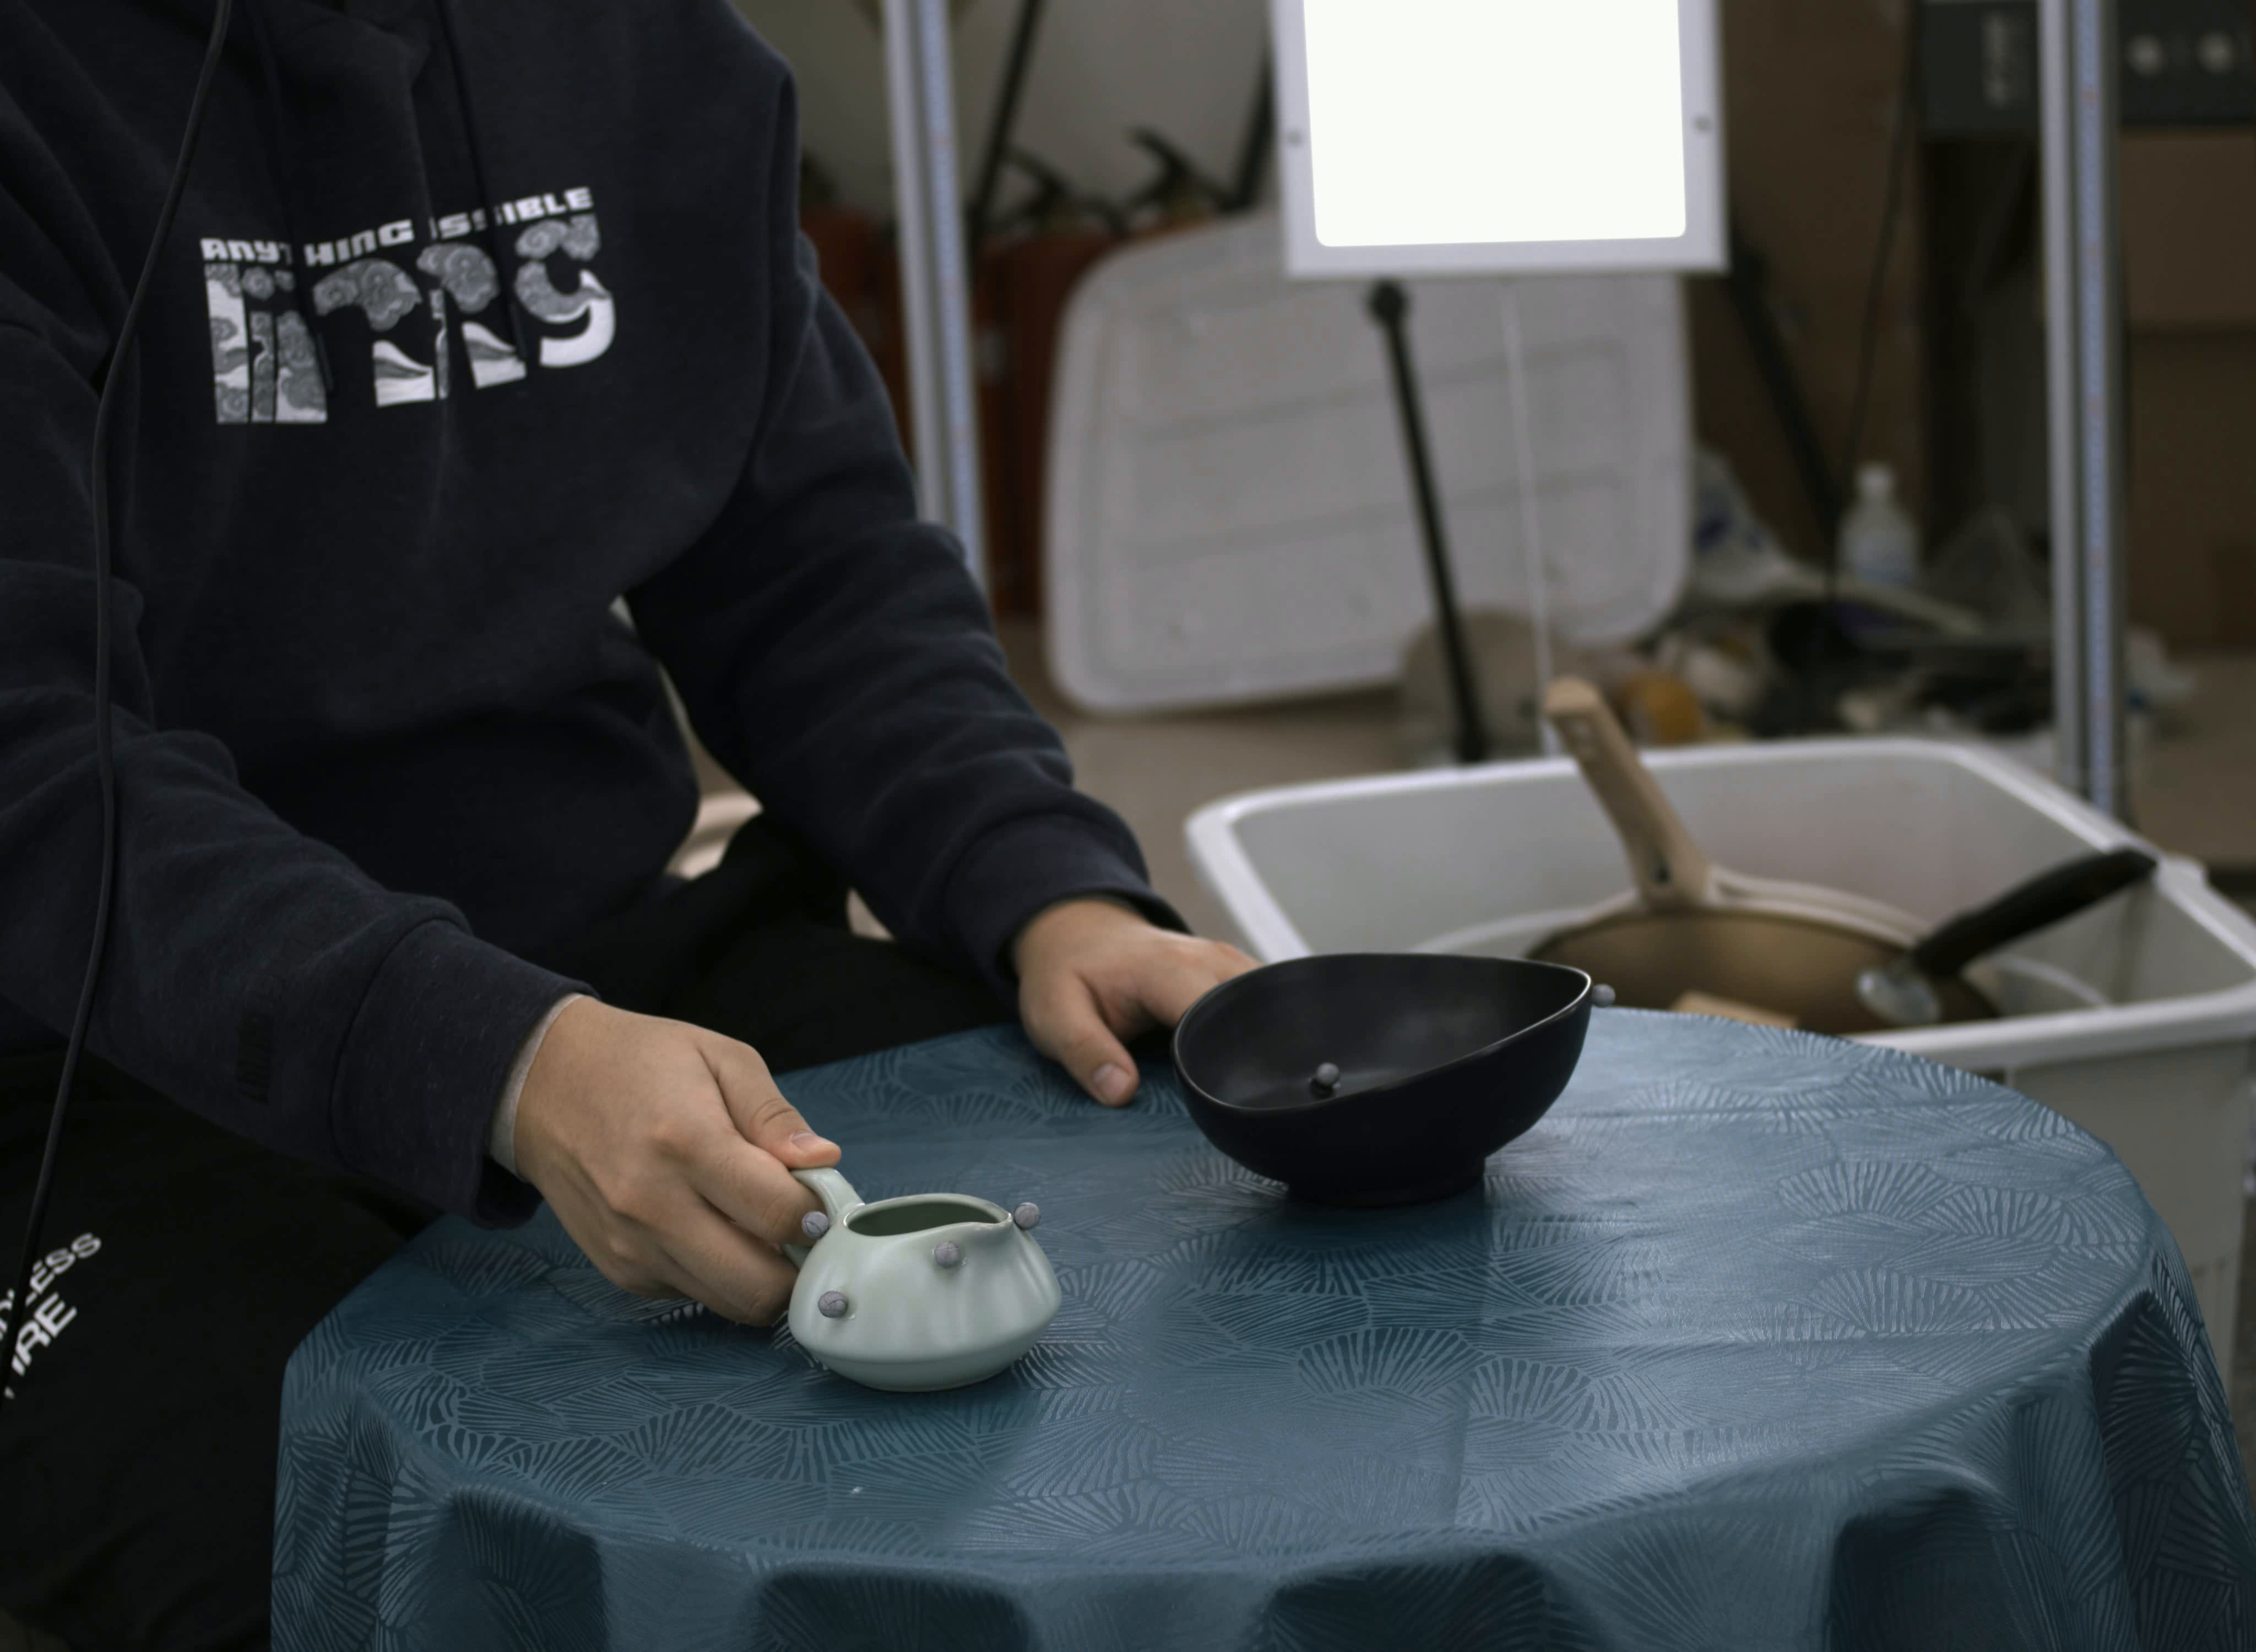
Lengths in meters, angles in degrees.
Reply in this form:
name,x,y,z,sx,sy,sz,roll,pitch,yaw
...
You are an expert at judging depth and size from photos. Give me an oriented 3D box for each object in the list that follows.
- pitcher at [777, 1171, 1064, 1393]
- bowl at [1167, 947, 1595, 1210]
name,x,y,z,sx,sy,sz,roll,pitch,yaw
pitcher,-0.072,0.143,1.738,0.110,0.060,0.084,6,16,45
bowl,0.089,0.090,1.883,0.140,0.067,0.166,4,17,35
